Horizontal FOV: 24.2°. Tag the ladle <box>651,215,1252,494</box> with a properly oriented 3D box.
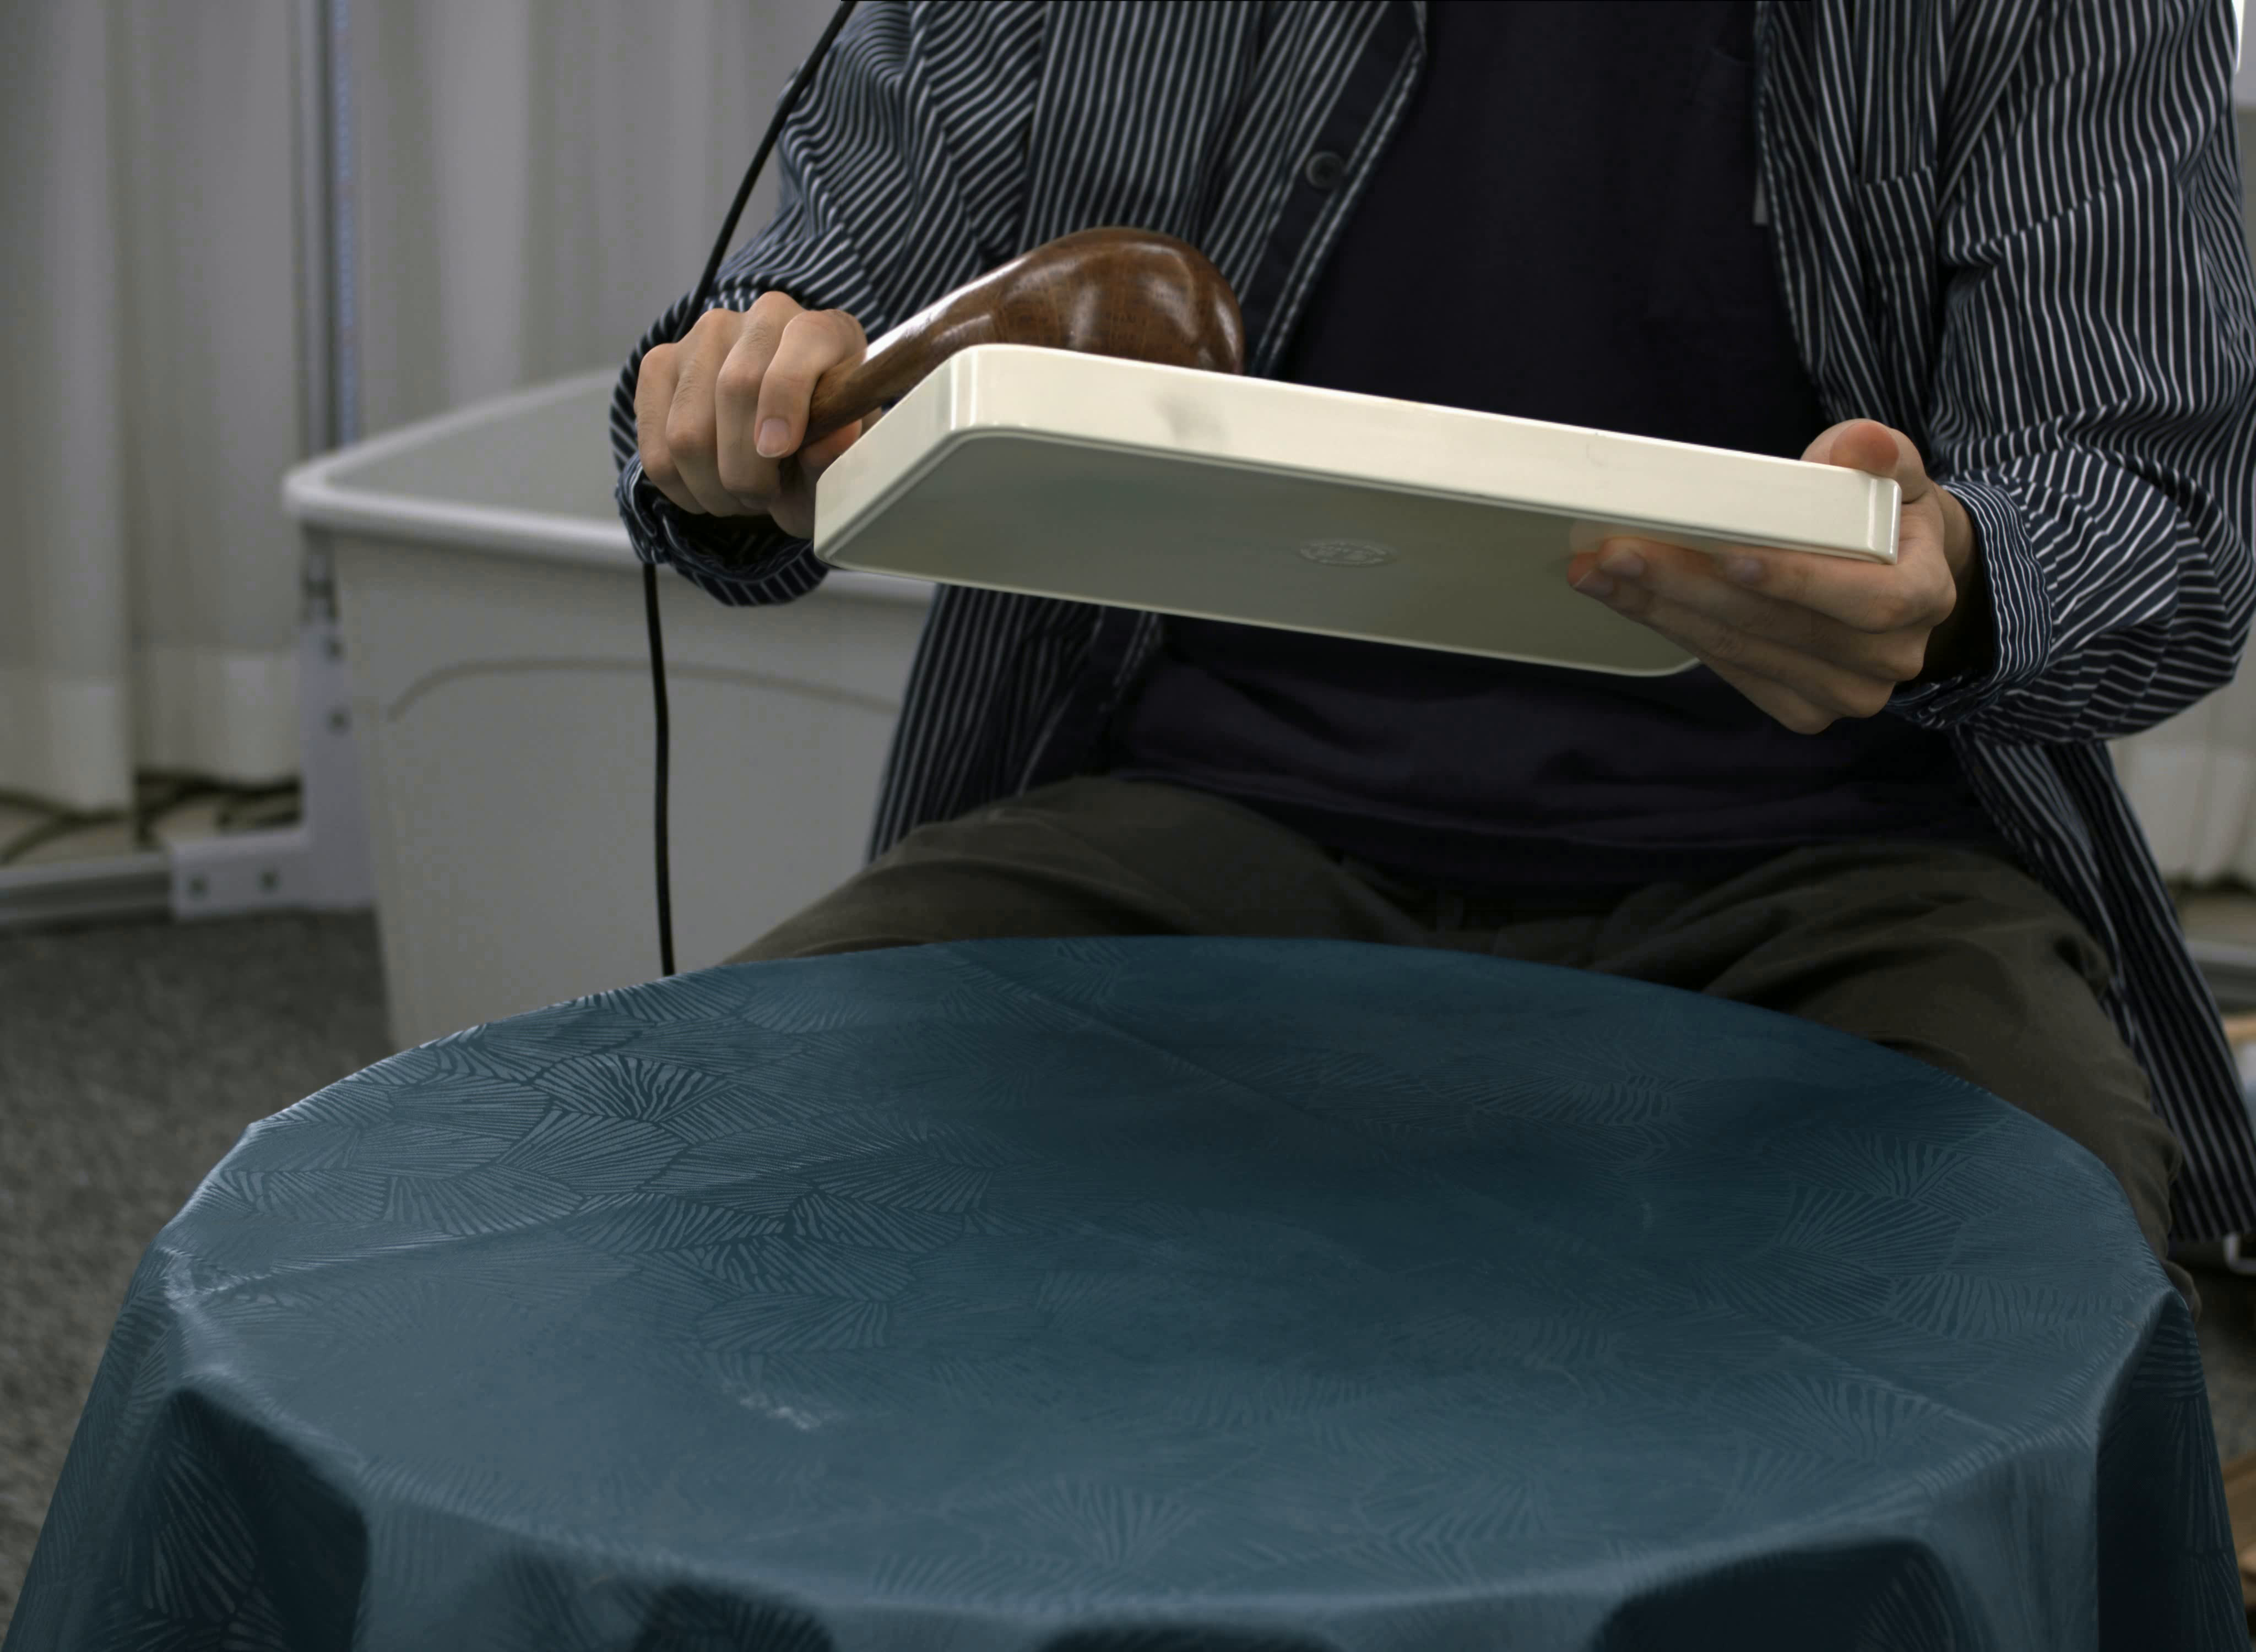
[{"bbox_3d":[-0.057,-0.130,1.657,0.077,0.082,0.272,38,-27,-19],"label":"ladle"}]

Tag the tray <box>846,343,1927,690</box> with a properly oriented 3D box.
[{"bbox_3d":[0.076,-0.091,1.627,0.301,0.027,0.191,7,-13,-16],"label":"tray"}]
